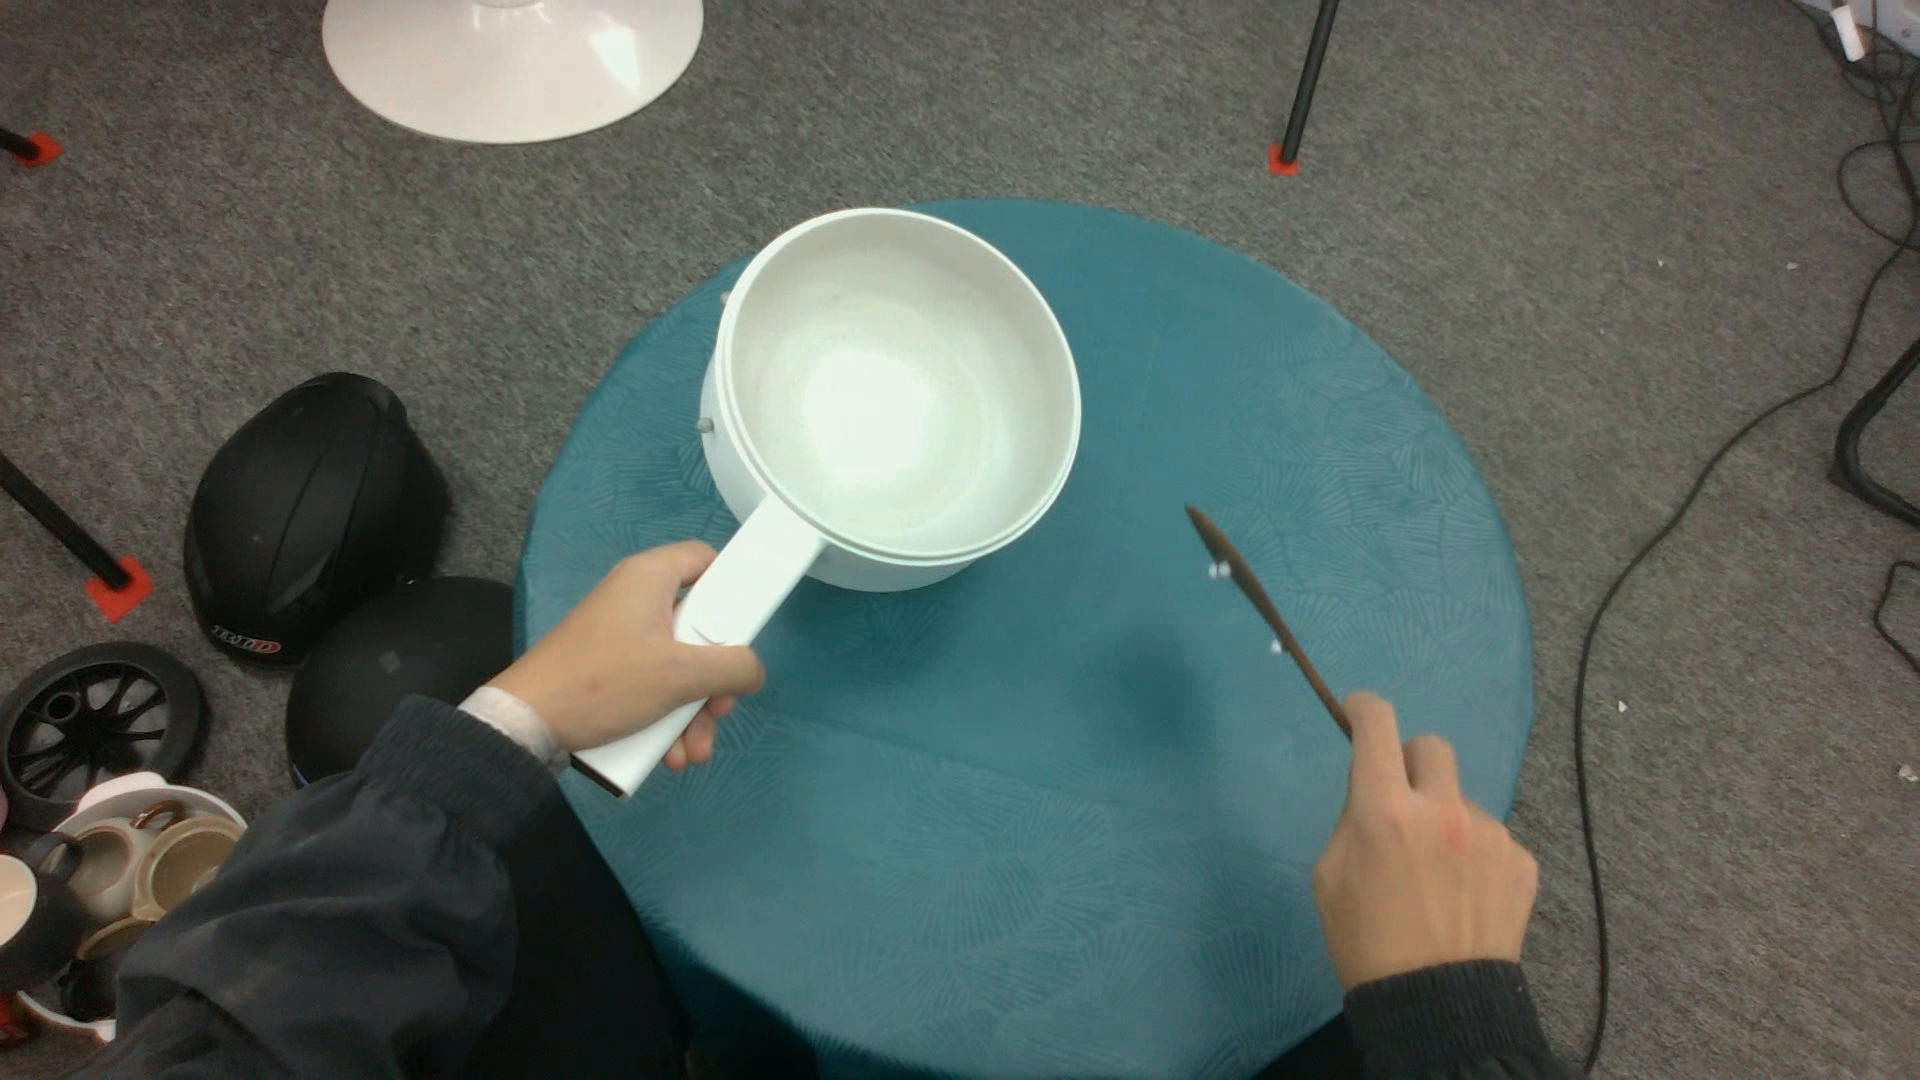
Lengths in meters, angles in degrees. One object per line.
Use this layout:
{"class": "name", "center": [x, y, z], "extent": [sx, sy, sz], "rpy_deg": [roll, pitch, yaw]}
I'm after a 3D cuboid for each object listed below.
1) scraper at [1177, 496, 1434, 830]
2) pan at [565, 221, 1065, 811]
{"class": "scraper", "center": [0.174, 0.059, 0.701], "extent": [0.011, 0.076, 0.212], "rpy_deg": [-35, 54, 5]}
{"class": "pan", "center": [-0.088, -0.009, 0.745], "extent": [0.201, 0.101, 0.356], "rpy_deg": [36, 65, -7]}
